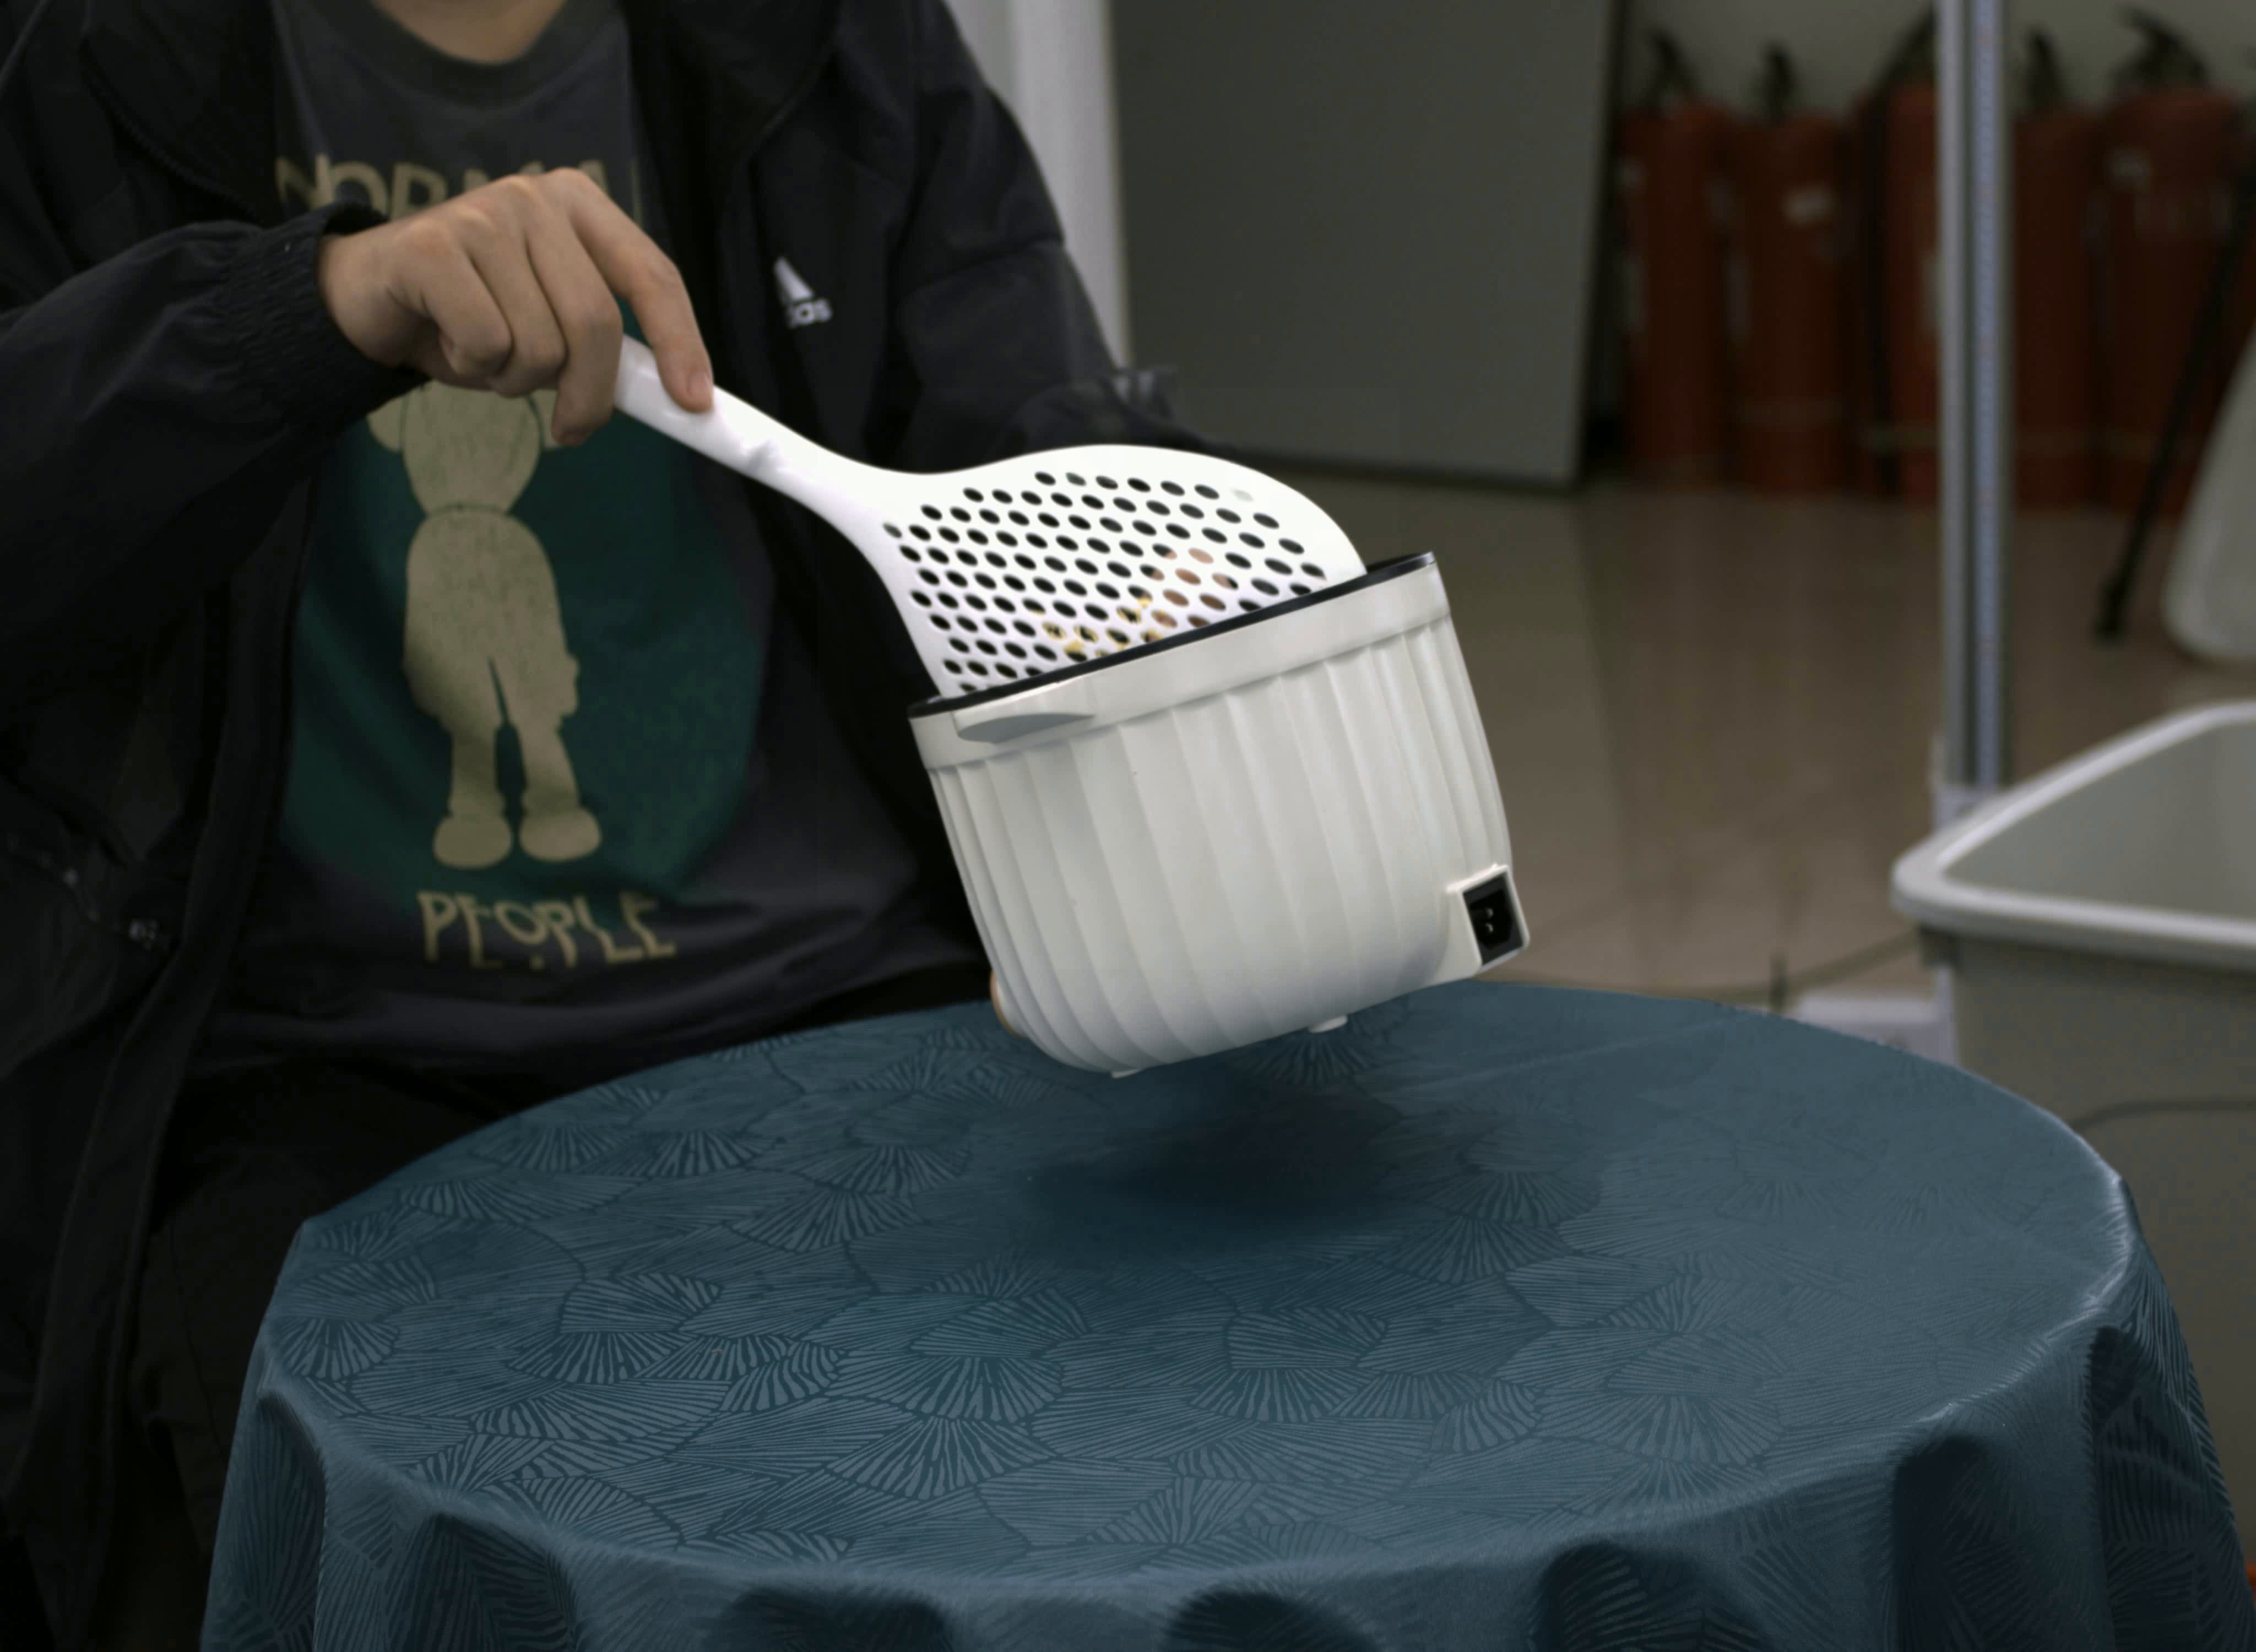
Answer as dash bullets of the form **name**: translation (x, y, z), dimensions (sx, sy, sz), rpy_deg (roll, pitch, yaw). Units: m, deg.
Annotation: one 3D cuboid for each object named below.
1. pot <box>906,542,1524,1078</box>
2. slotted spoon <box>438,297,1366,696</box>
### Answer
- **pot**: translation (0.026, -0.001, 1.763), dimensions (0.191, 0.144, 0.236), rpy_deg (-11, 4, 33)
- **slotted spoon**: translation (-0.083, -0.102, 1.795), dimensions (0.349, 0.138, 0.049), rpy_deg (24, 7, 26)
